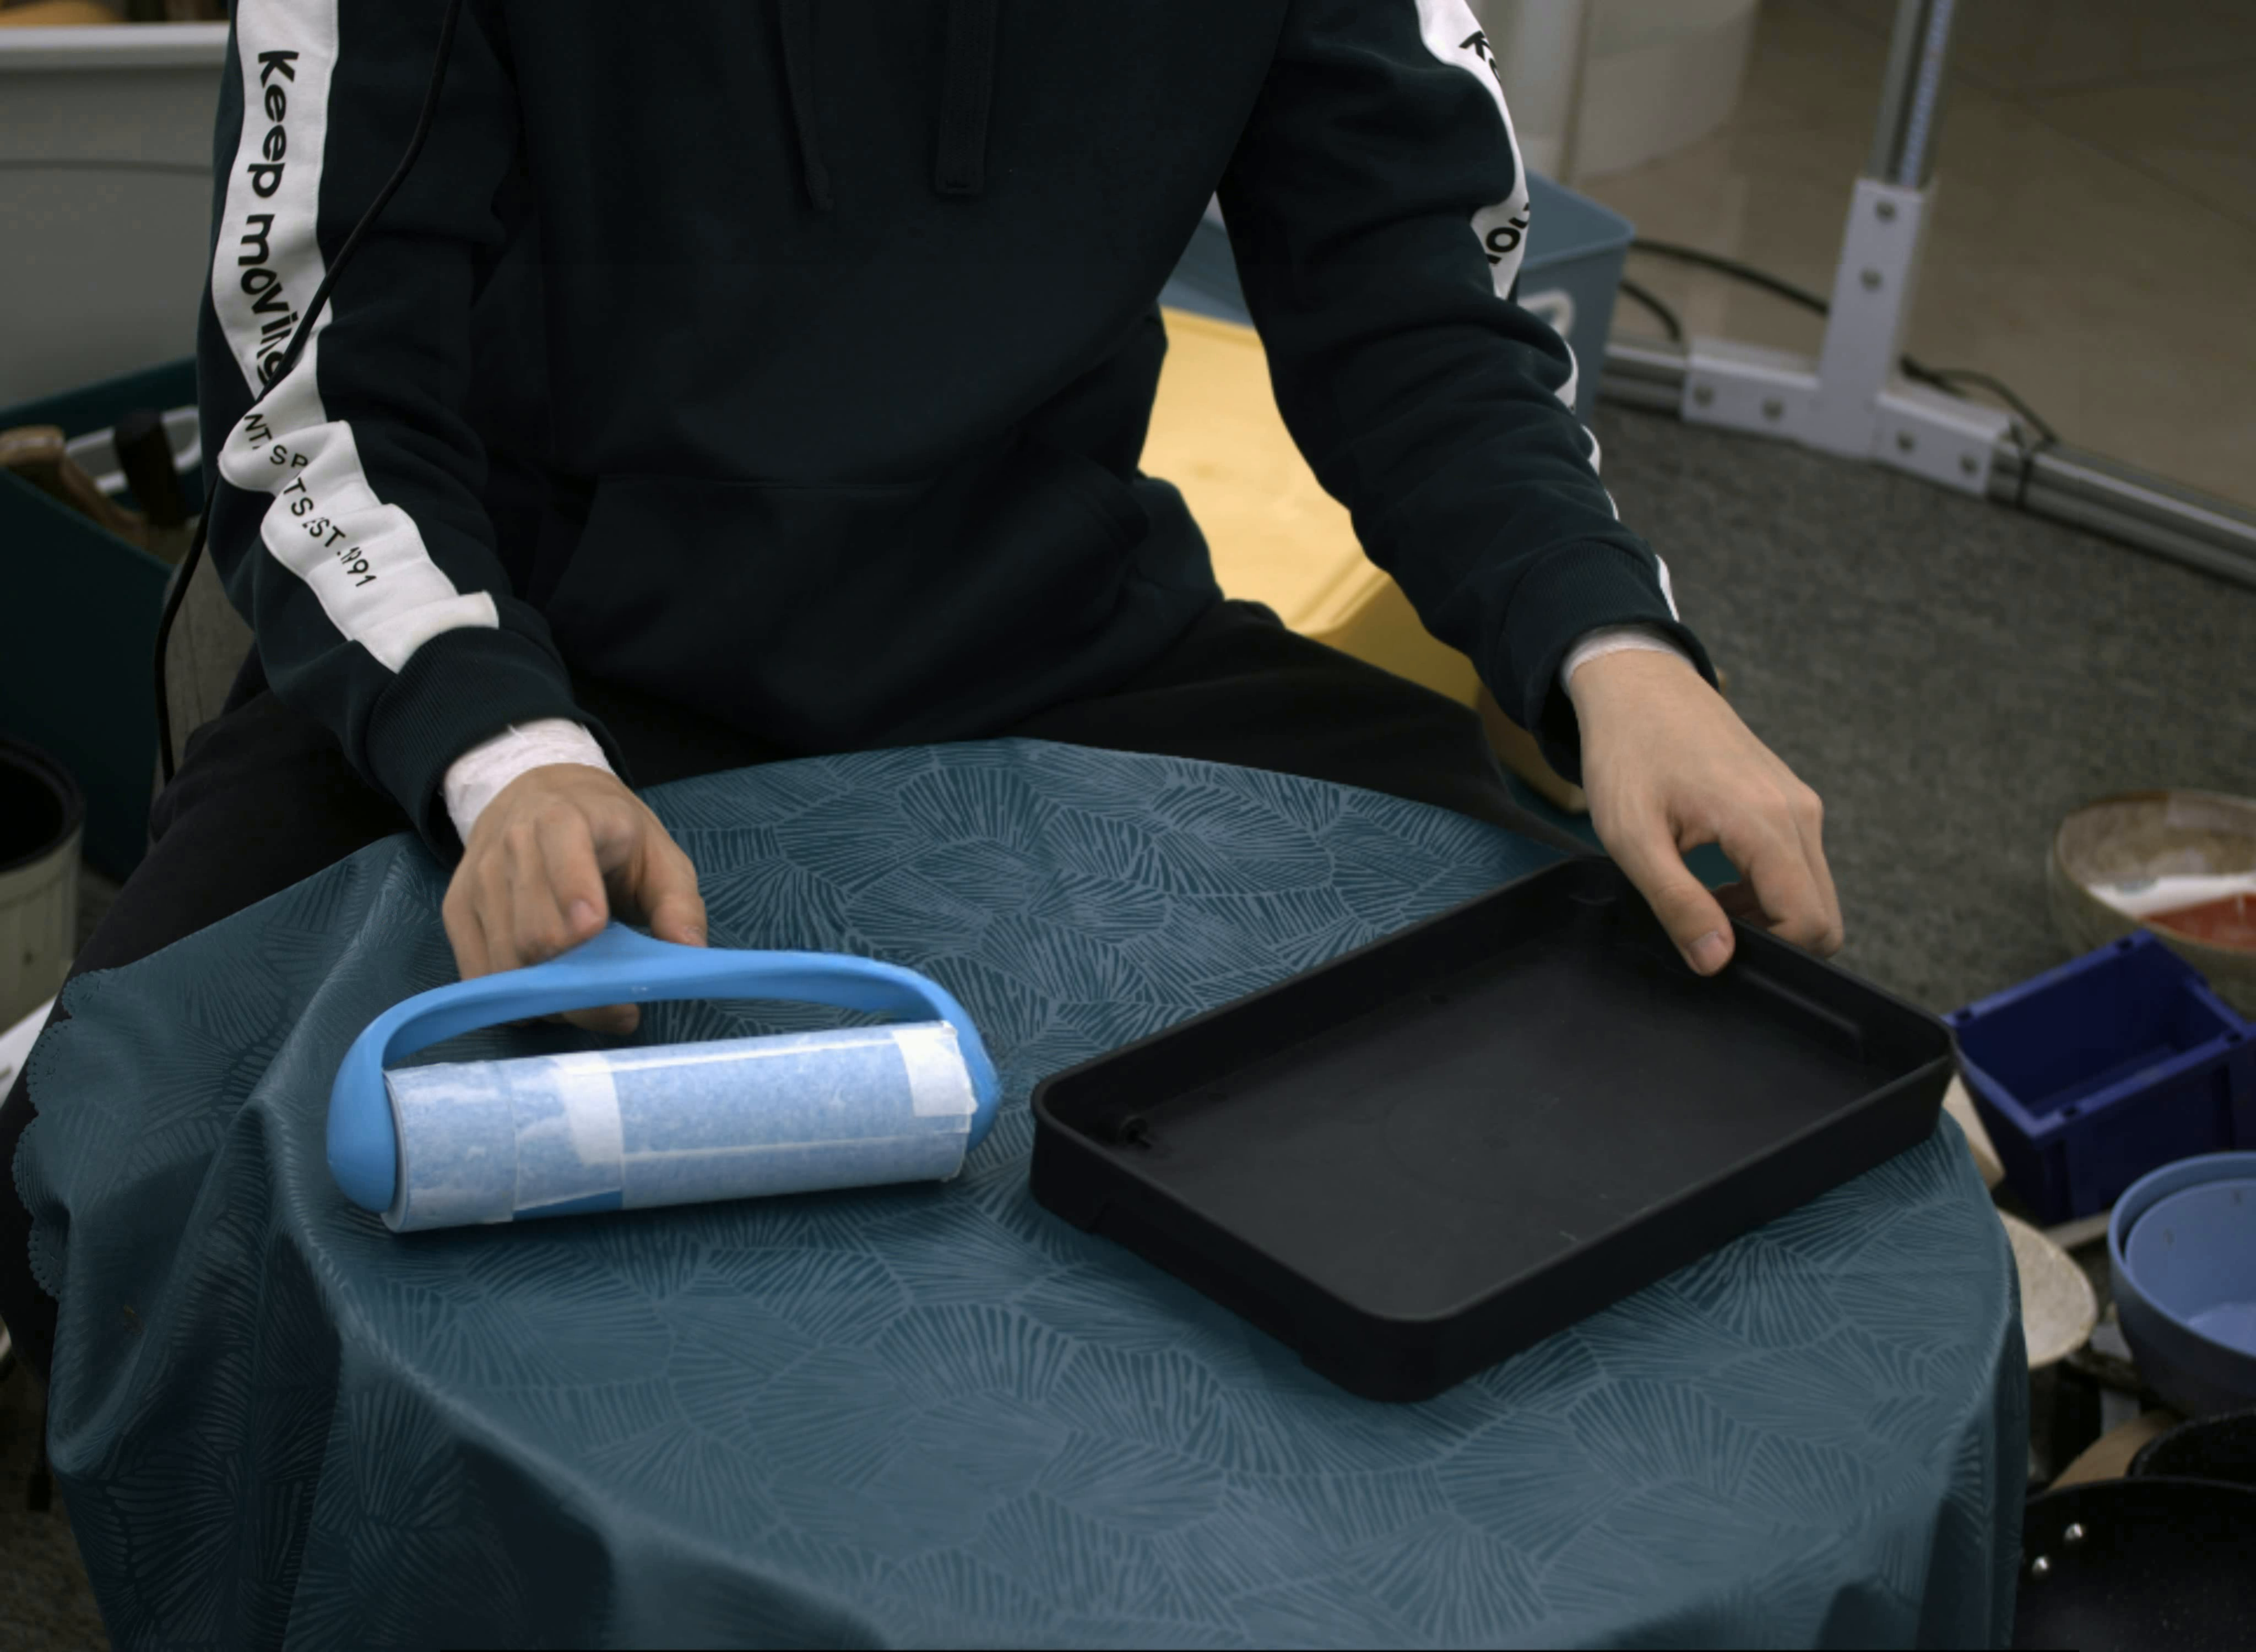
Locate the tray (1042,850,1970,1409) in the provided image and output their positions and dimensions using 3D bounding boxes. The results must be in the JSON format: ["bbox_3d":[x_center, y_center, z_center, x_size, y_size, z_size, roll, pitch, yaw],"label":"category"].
[{"bbox_3d":[0.133,0.098,1.841,0.185,0.037,0.316,27,34,35],"label":"tray"}]

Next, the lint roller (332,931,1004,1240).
[{"bbox_3d":[-0.172,0.070,1.801,0.227,0.067,0.182,-7,31,-22],"label":"lint roller"}]
